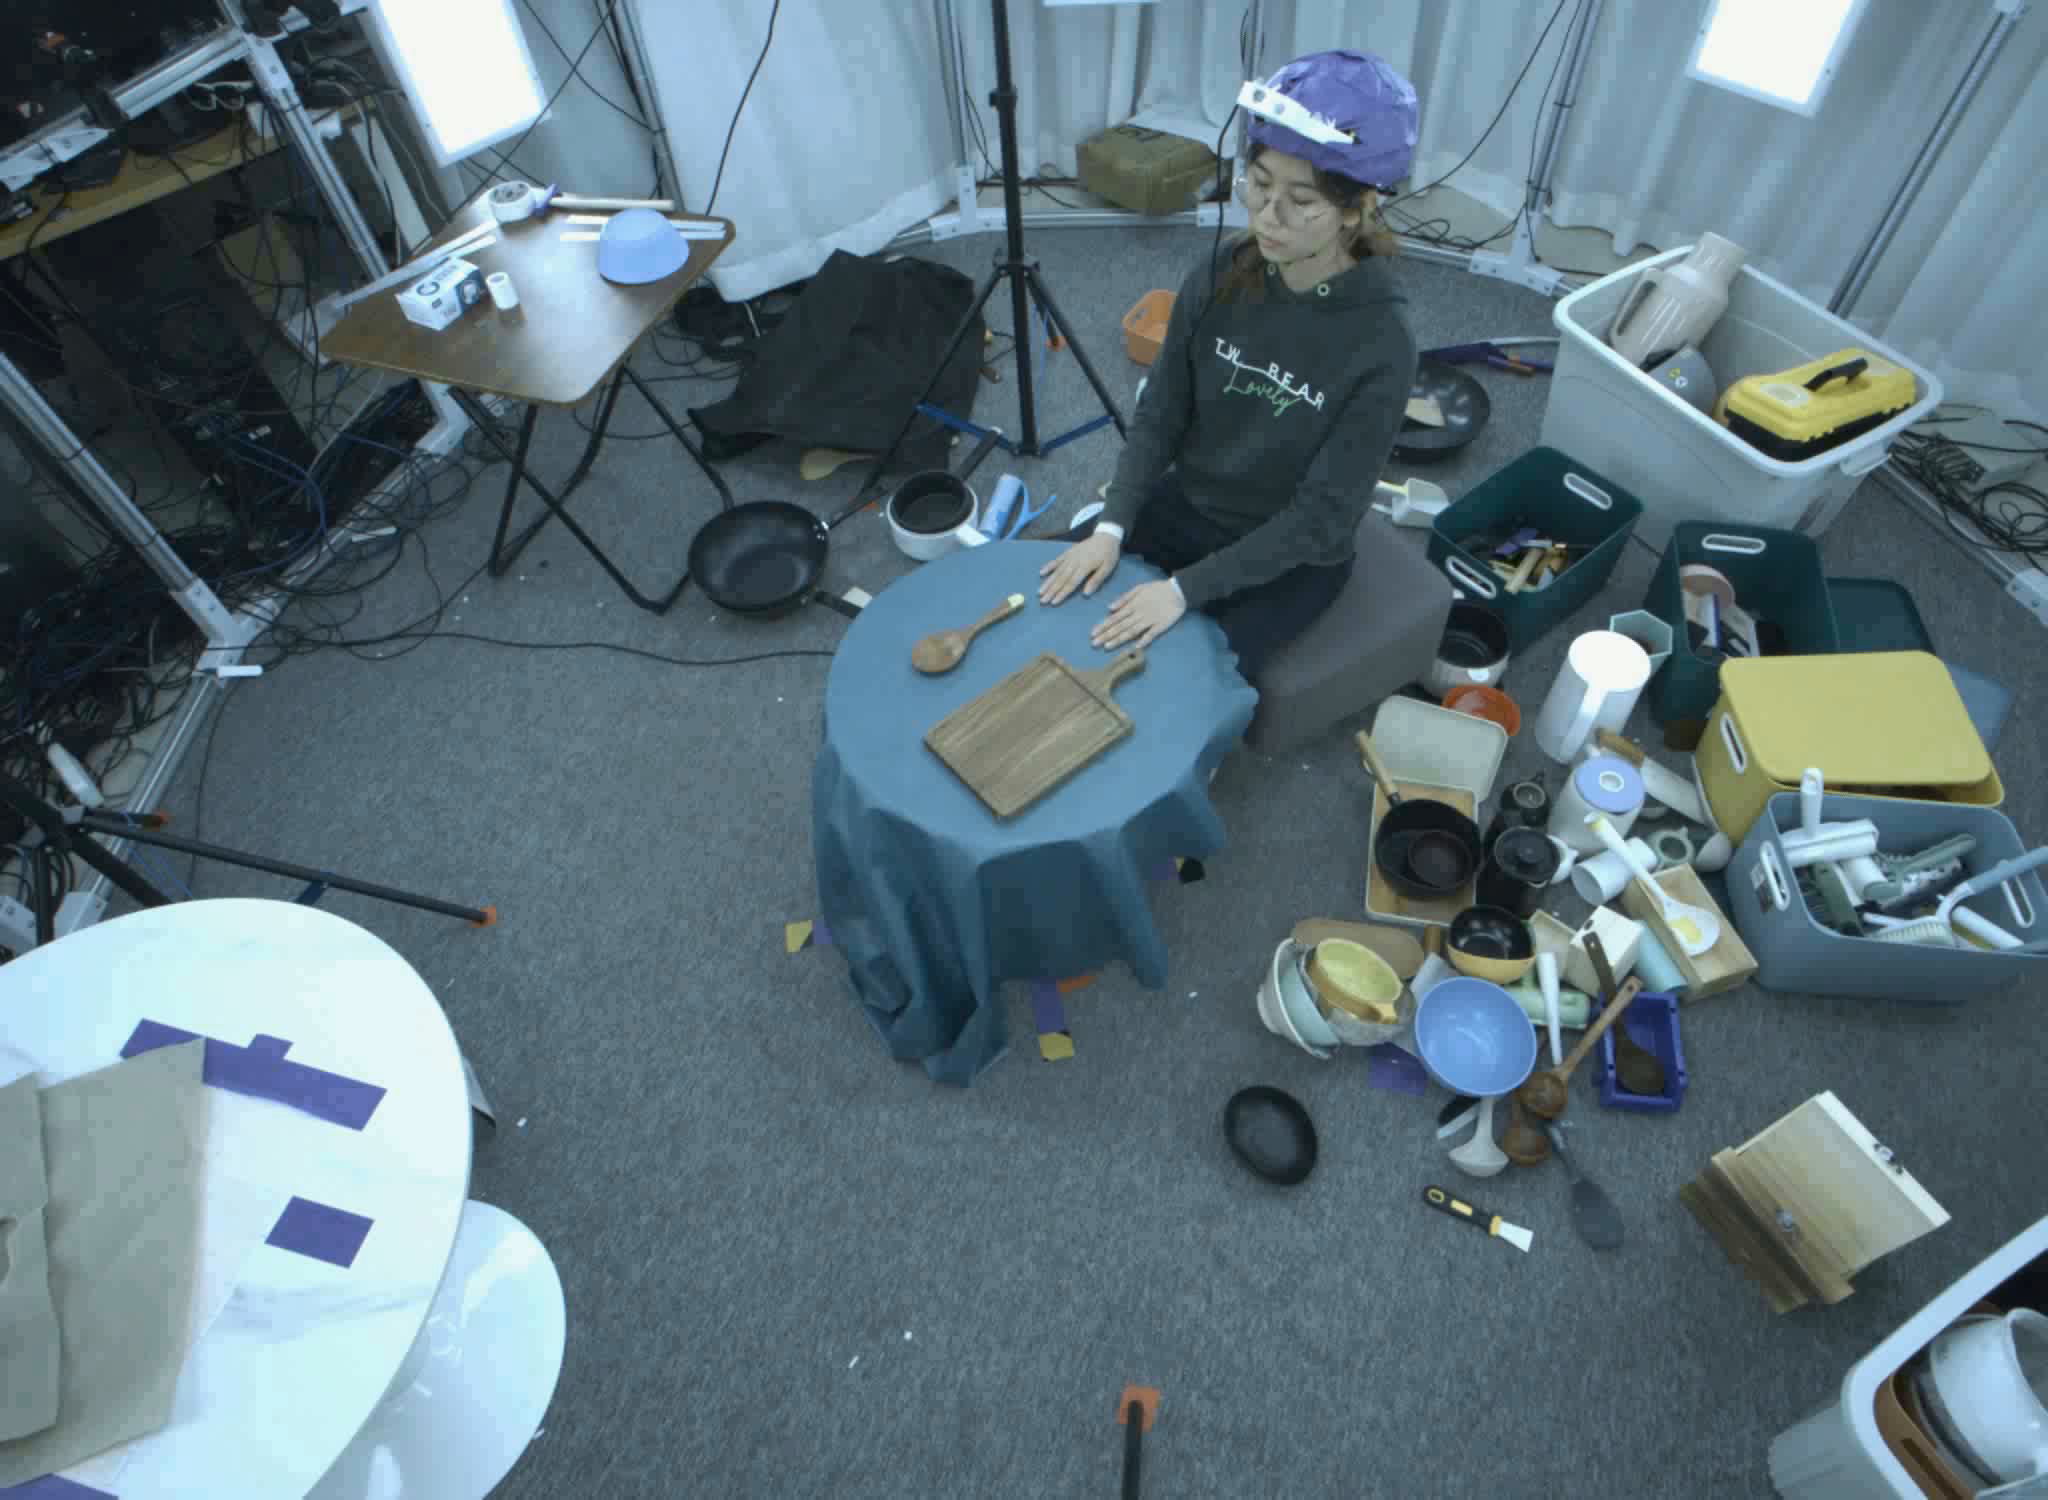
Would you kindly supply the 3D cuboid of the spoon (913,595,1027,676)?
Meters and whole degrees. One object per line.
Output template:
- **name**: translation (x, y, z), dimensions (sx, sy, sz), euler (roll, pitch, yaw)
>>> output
- **spoon**: translation (-0.081, -0.179, 1.915), dimensions (0.217, 0.017, 0.074), euler (-37, 59, -21)

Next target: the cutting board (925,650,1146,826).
- **cutting board**: translation (0.047, -0.046, 1.819), dimensions (0.355, 0.023, 0.197), euler (-35, 60, -21)
